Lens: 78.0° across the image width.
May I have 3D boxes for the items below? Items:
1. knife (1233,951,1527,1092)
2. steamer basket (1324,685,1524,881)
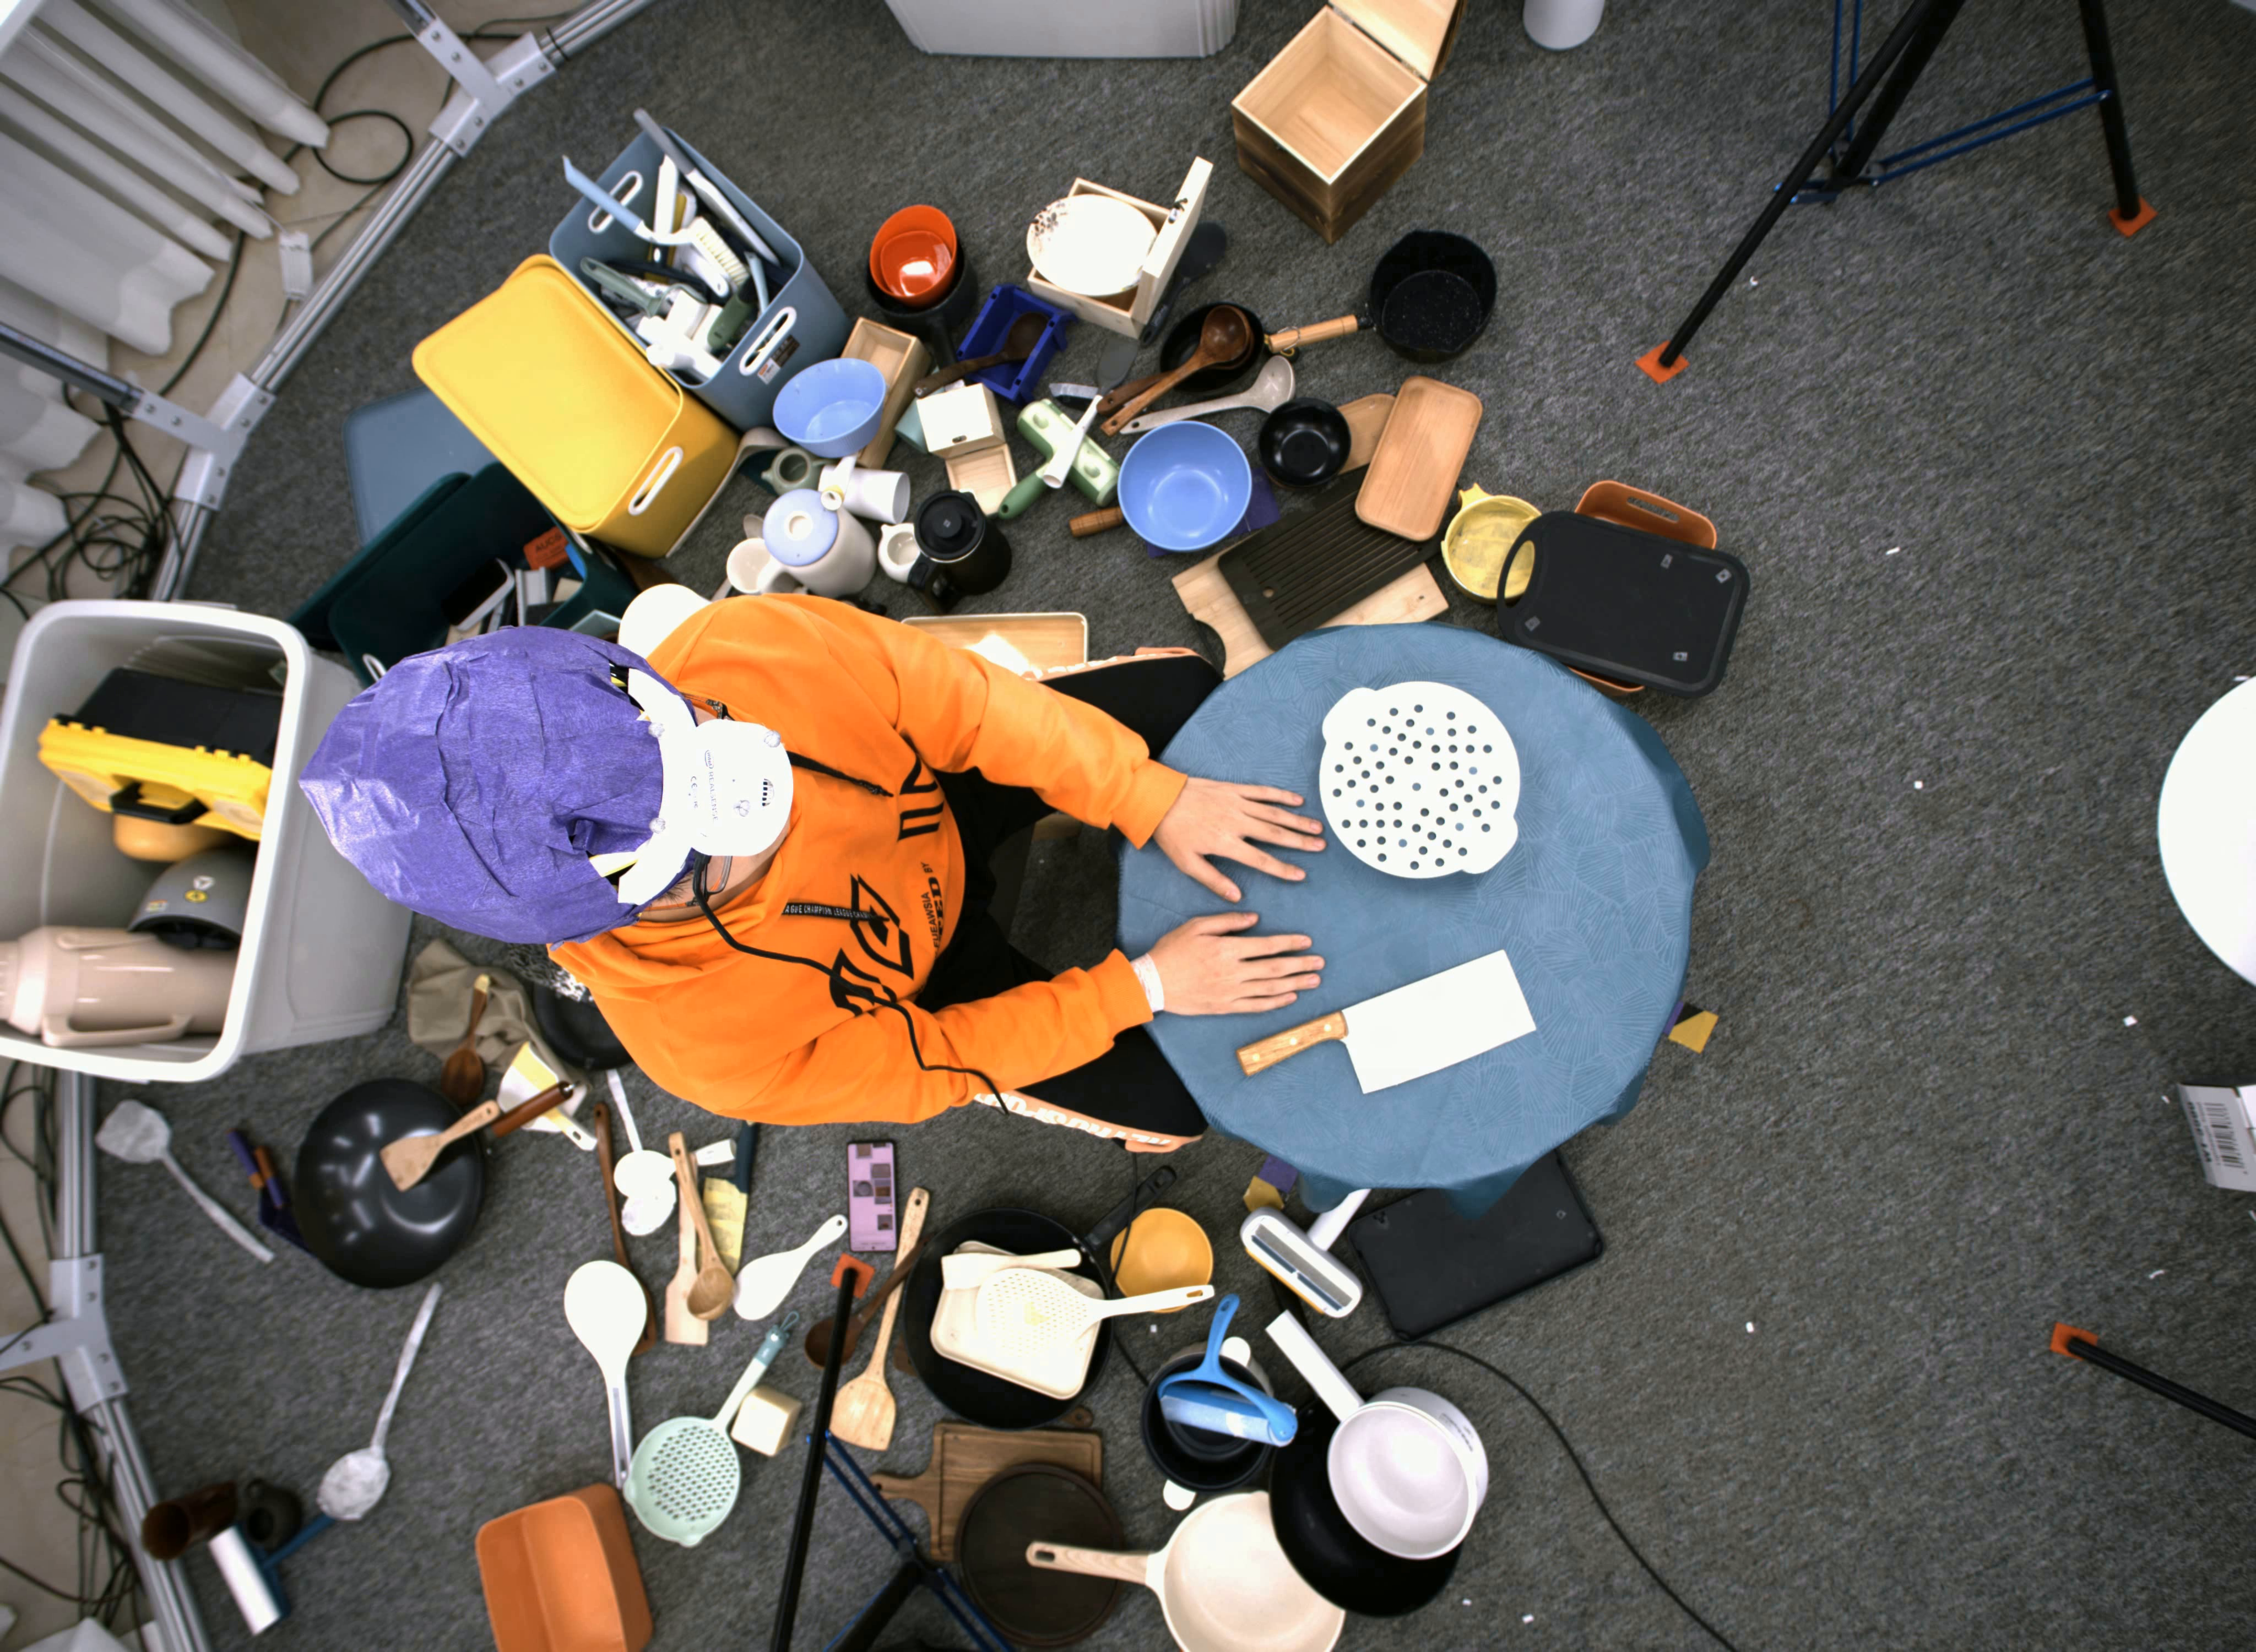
[{"bbox_3d":[0.265,0.221,1.445,0.307,0.021,0.092,-21,85,6],"label":"knife"},{"bbox_3d":[0.304,-0.043,1.425,0.230,0.069,0.203,44,95,8],"label":"steamer basket"}]
